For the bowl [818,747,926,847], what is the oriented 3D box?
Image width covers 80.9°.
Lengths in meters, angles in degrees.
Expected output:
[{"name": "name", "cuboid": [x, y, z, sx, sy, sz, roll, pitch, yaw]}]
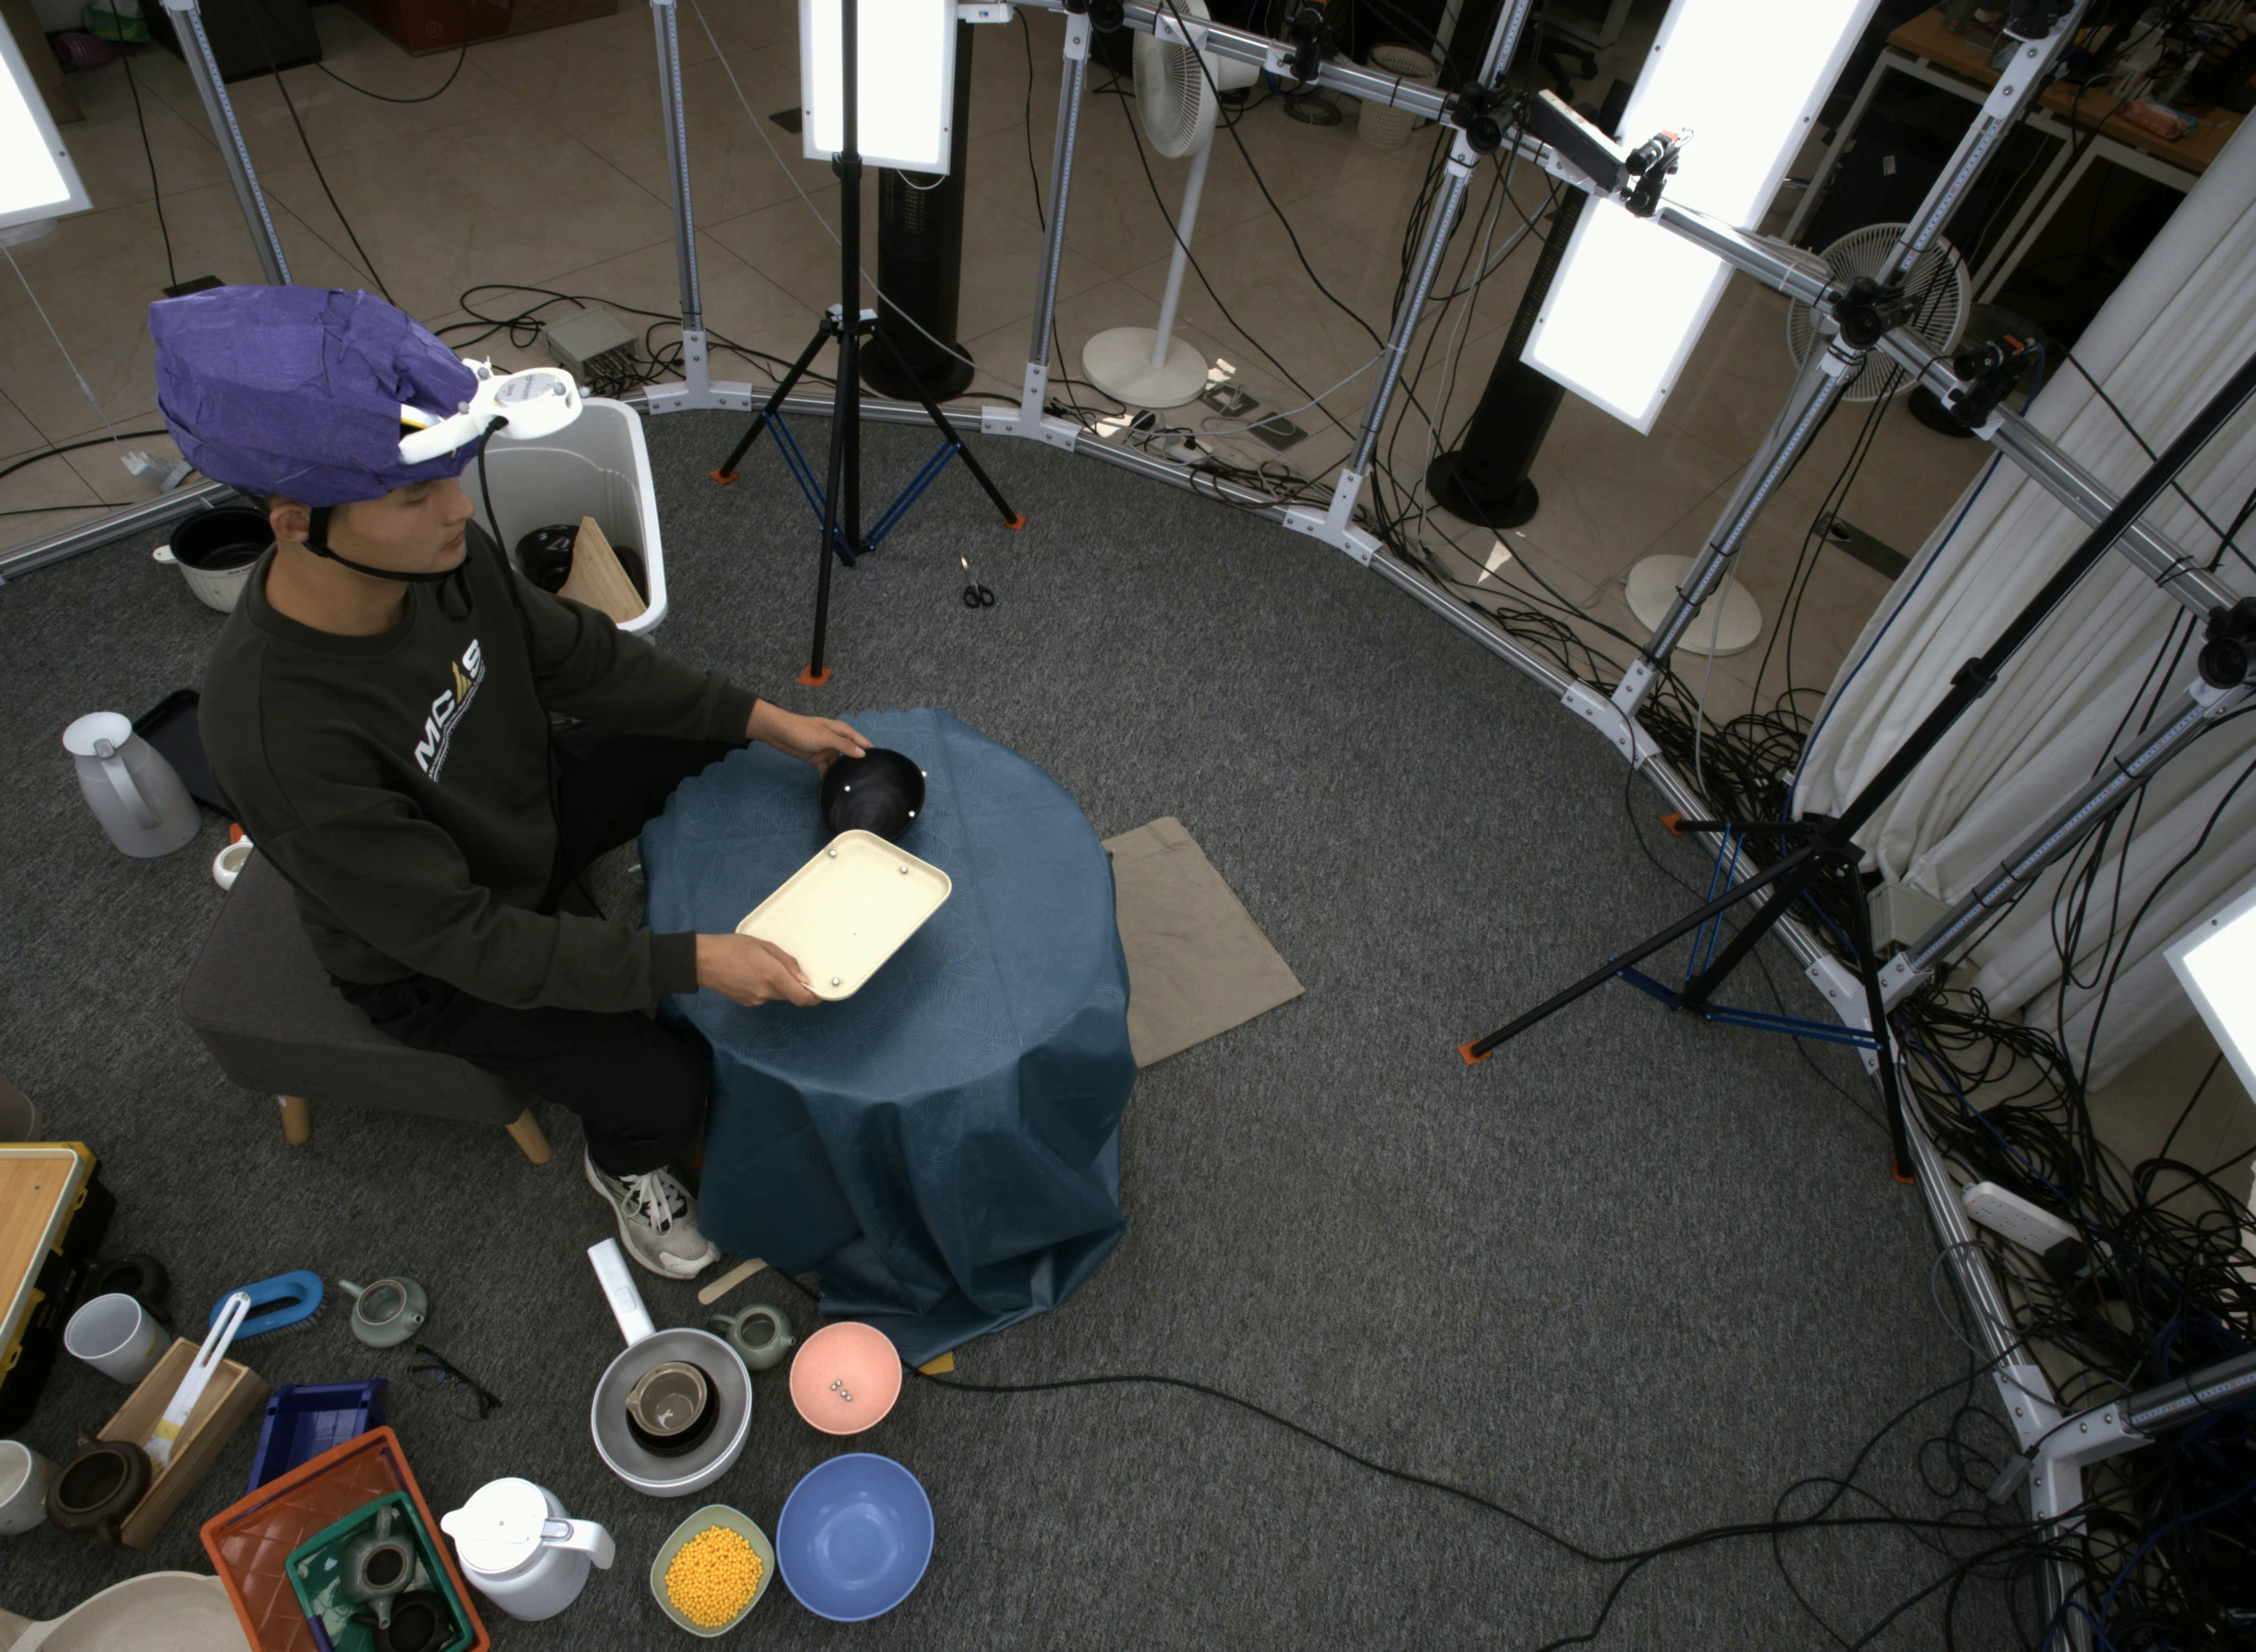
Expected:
[{"name": "bowl", "cuboid": [-0.341, -0.024, 1.733, 0.136, 0.068, 0.168, 13, 54, -1]}]

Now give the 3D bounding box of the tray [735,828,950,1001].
[{"name": "tray", "cuboid": [-0.340, 0.103, 1.562, 0.167, 0.018, 0.239, 28, 48, 14]}]
